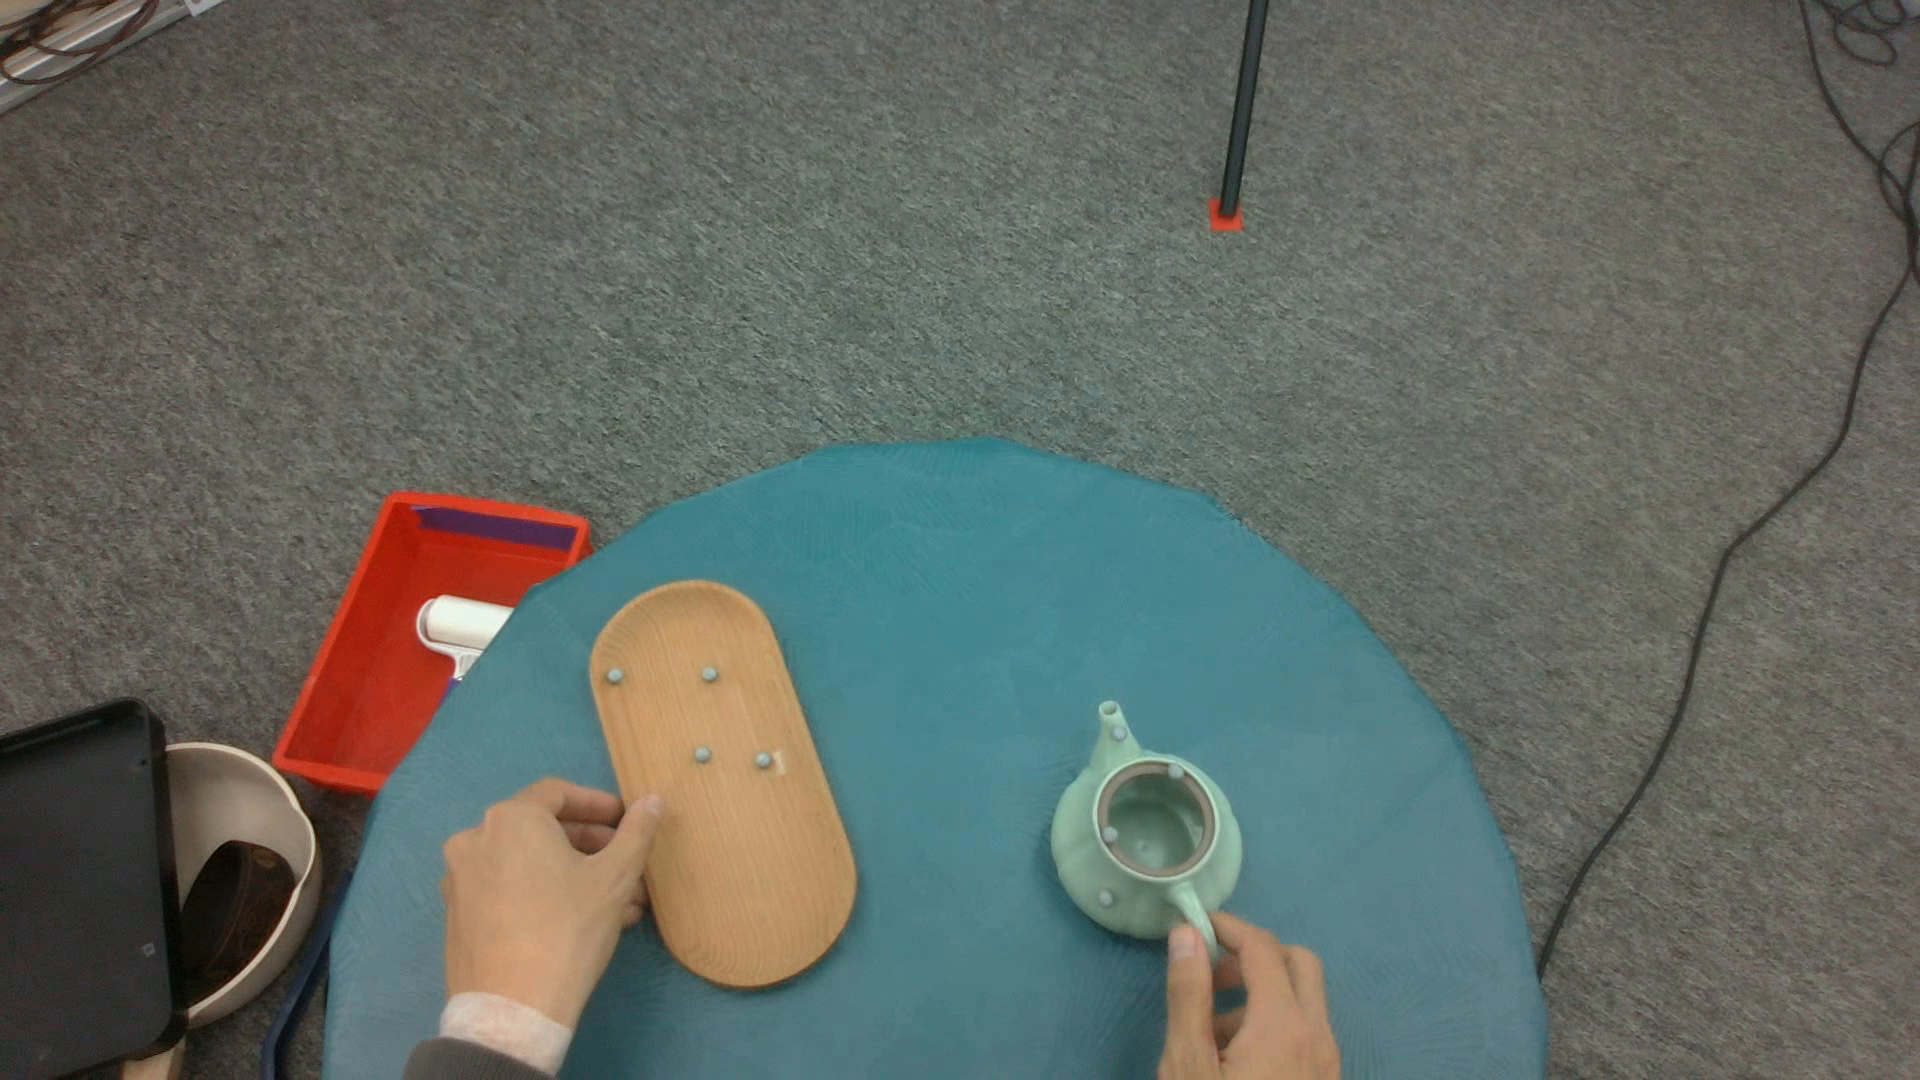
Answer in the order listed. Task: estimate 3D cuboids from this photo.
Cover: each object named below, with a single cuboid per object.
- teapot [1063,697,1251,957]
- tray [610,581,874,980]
[{"bbox_3d":[0.103,0.149,0.698,0.096,0.061,0.137,-18,61,-12],"label":"teapot"},{"bbox_3d":[-0.119,0.122,0.740,0.102,0.020,0.232,-19,62,-11],"label":"tray"}]
